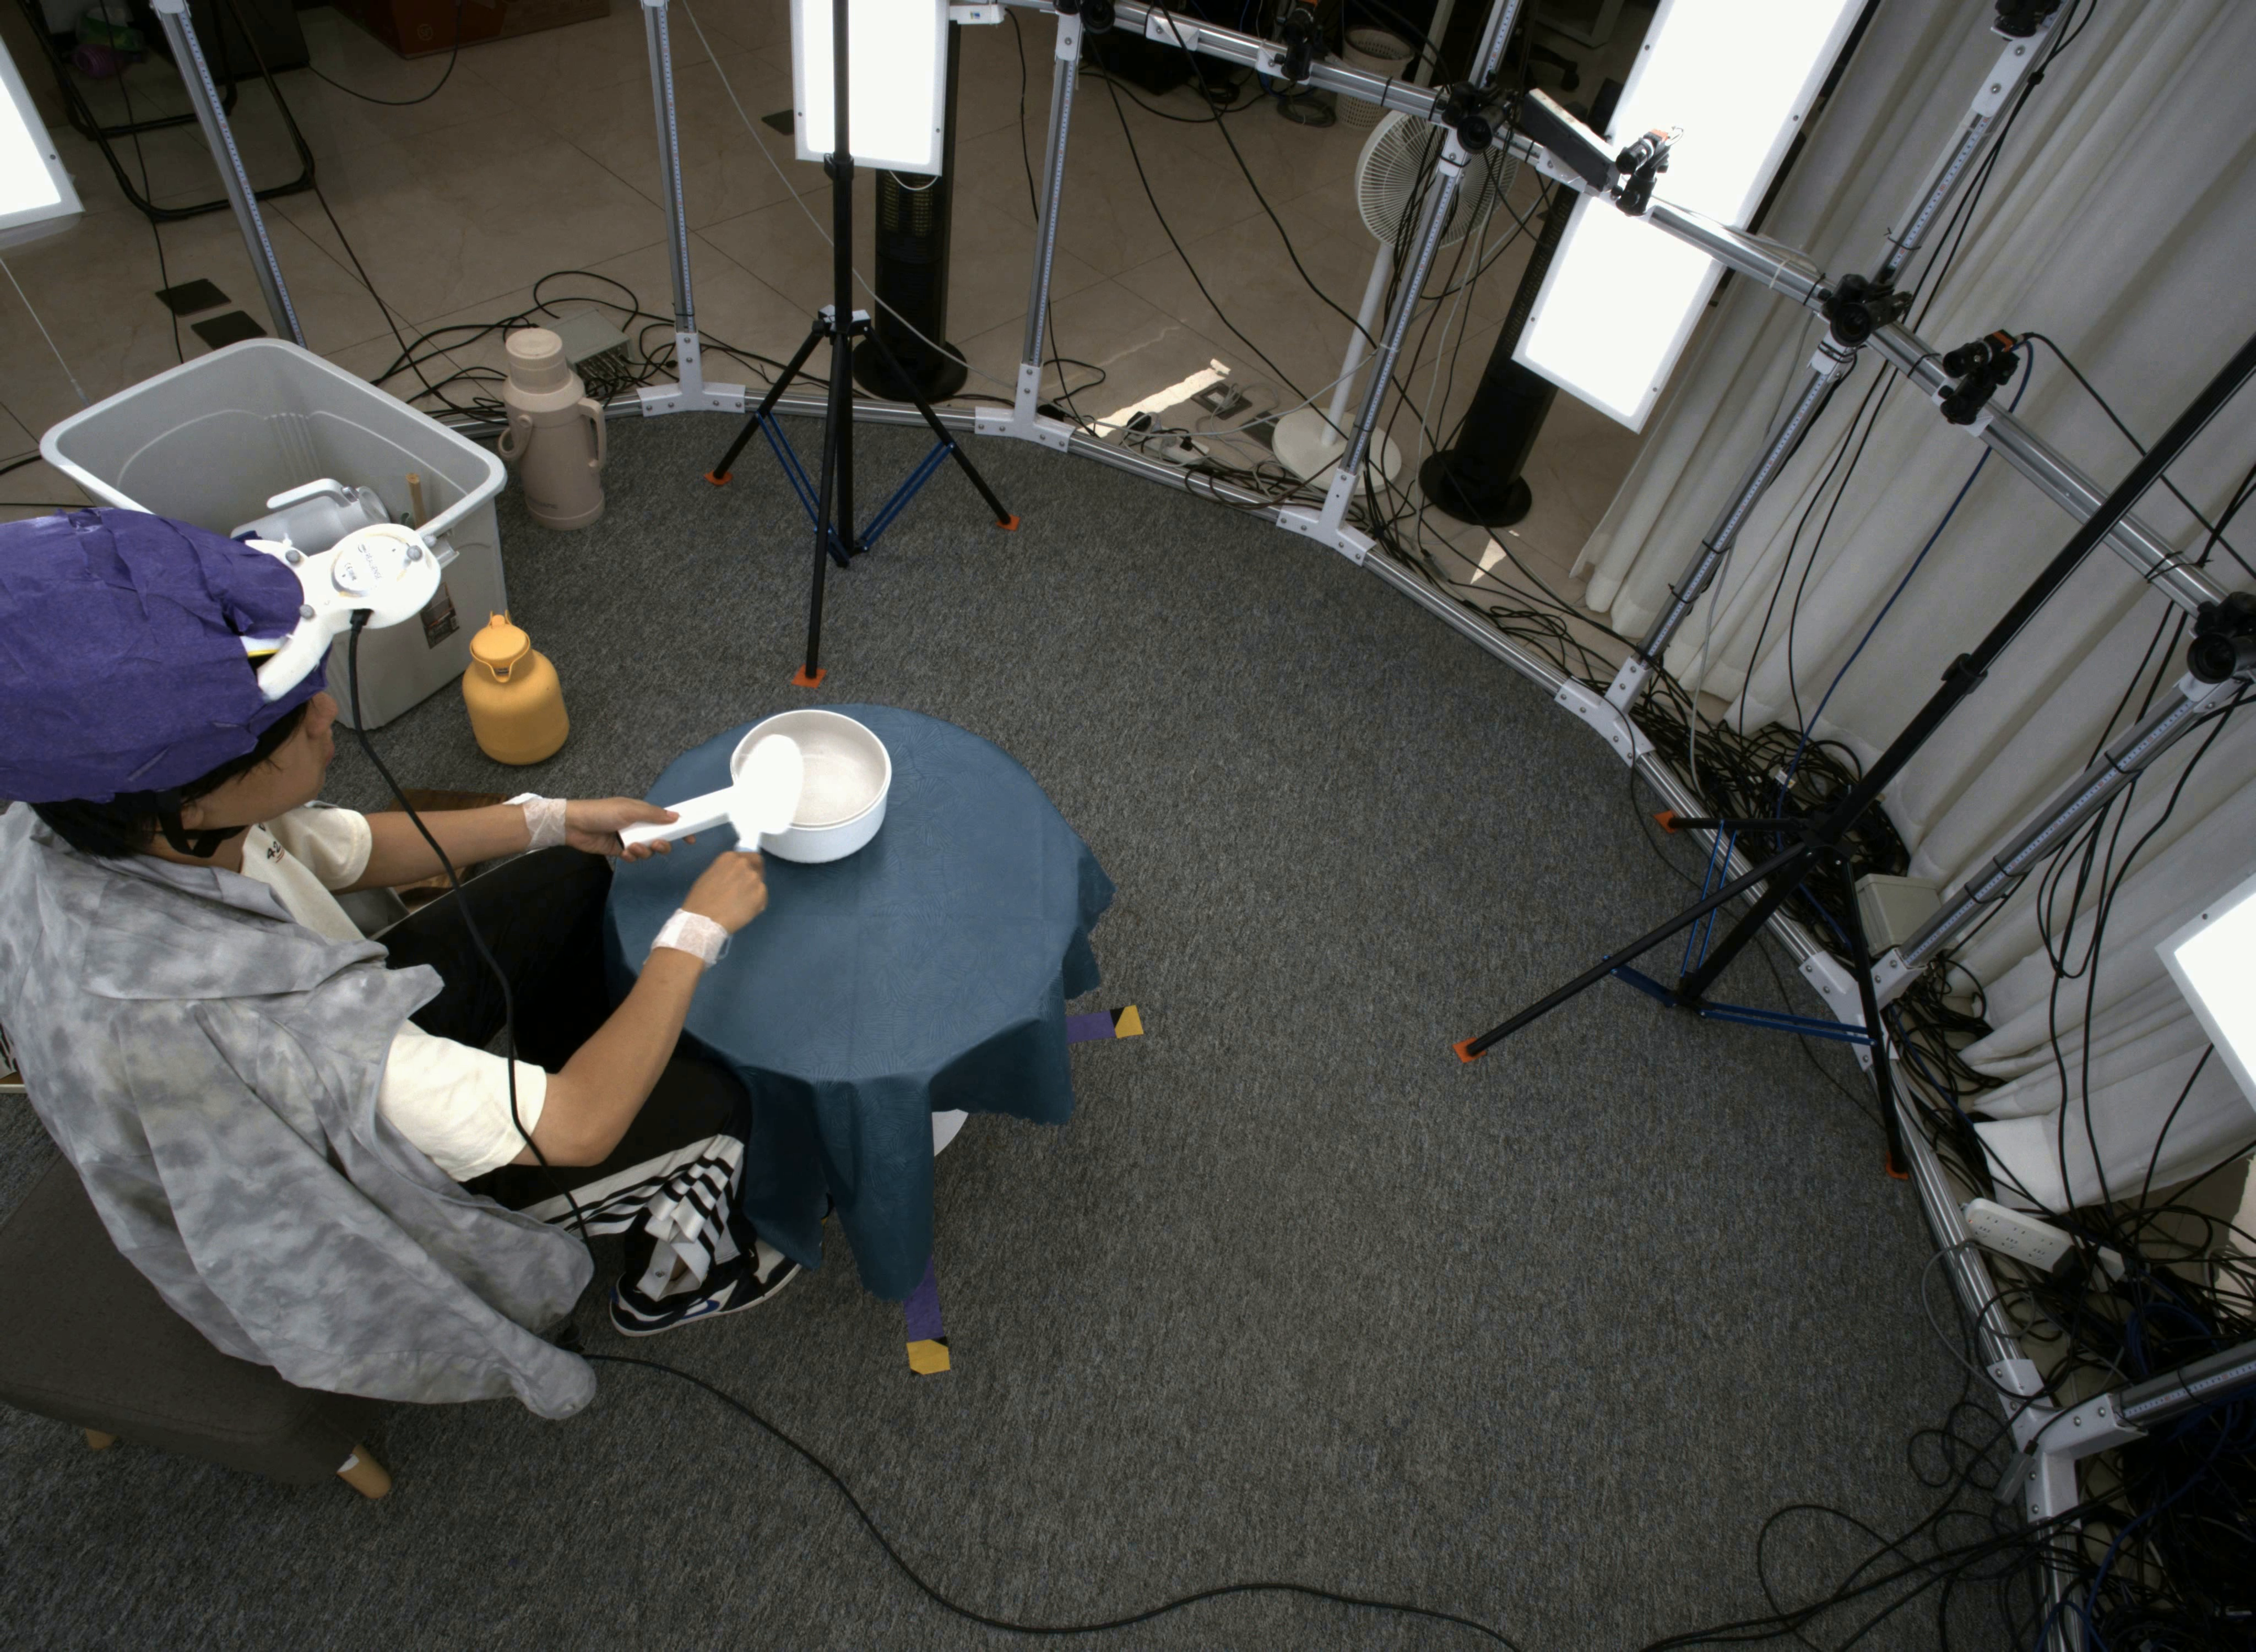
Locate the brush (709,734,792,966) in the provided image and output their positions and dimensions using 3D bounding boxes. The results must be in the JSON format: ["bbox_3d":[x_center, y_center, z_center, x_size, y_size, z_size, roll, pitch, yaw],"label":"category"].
[{"bbox_3d":[-0.453,0.033,1.517,0.081,0.088,0.320,-10,53,16],"label":"brush"}]

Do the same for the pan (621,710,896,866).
[{"bbox_3d":[-0.469,-0.020,1.660,0.356,0.104,0.196,-23,62,-29],"label":"pan"}]
